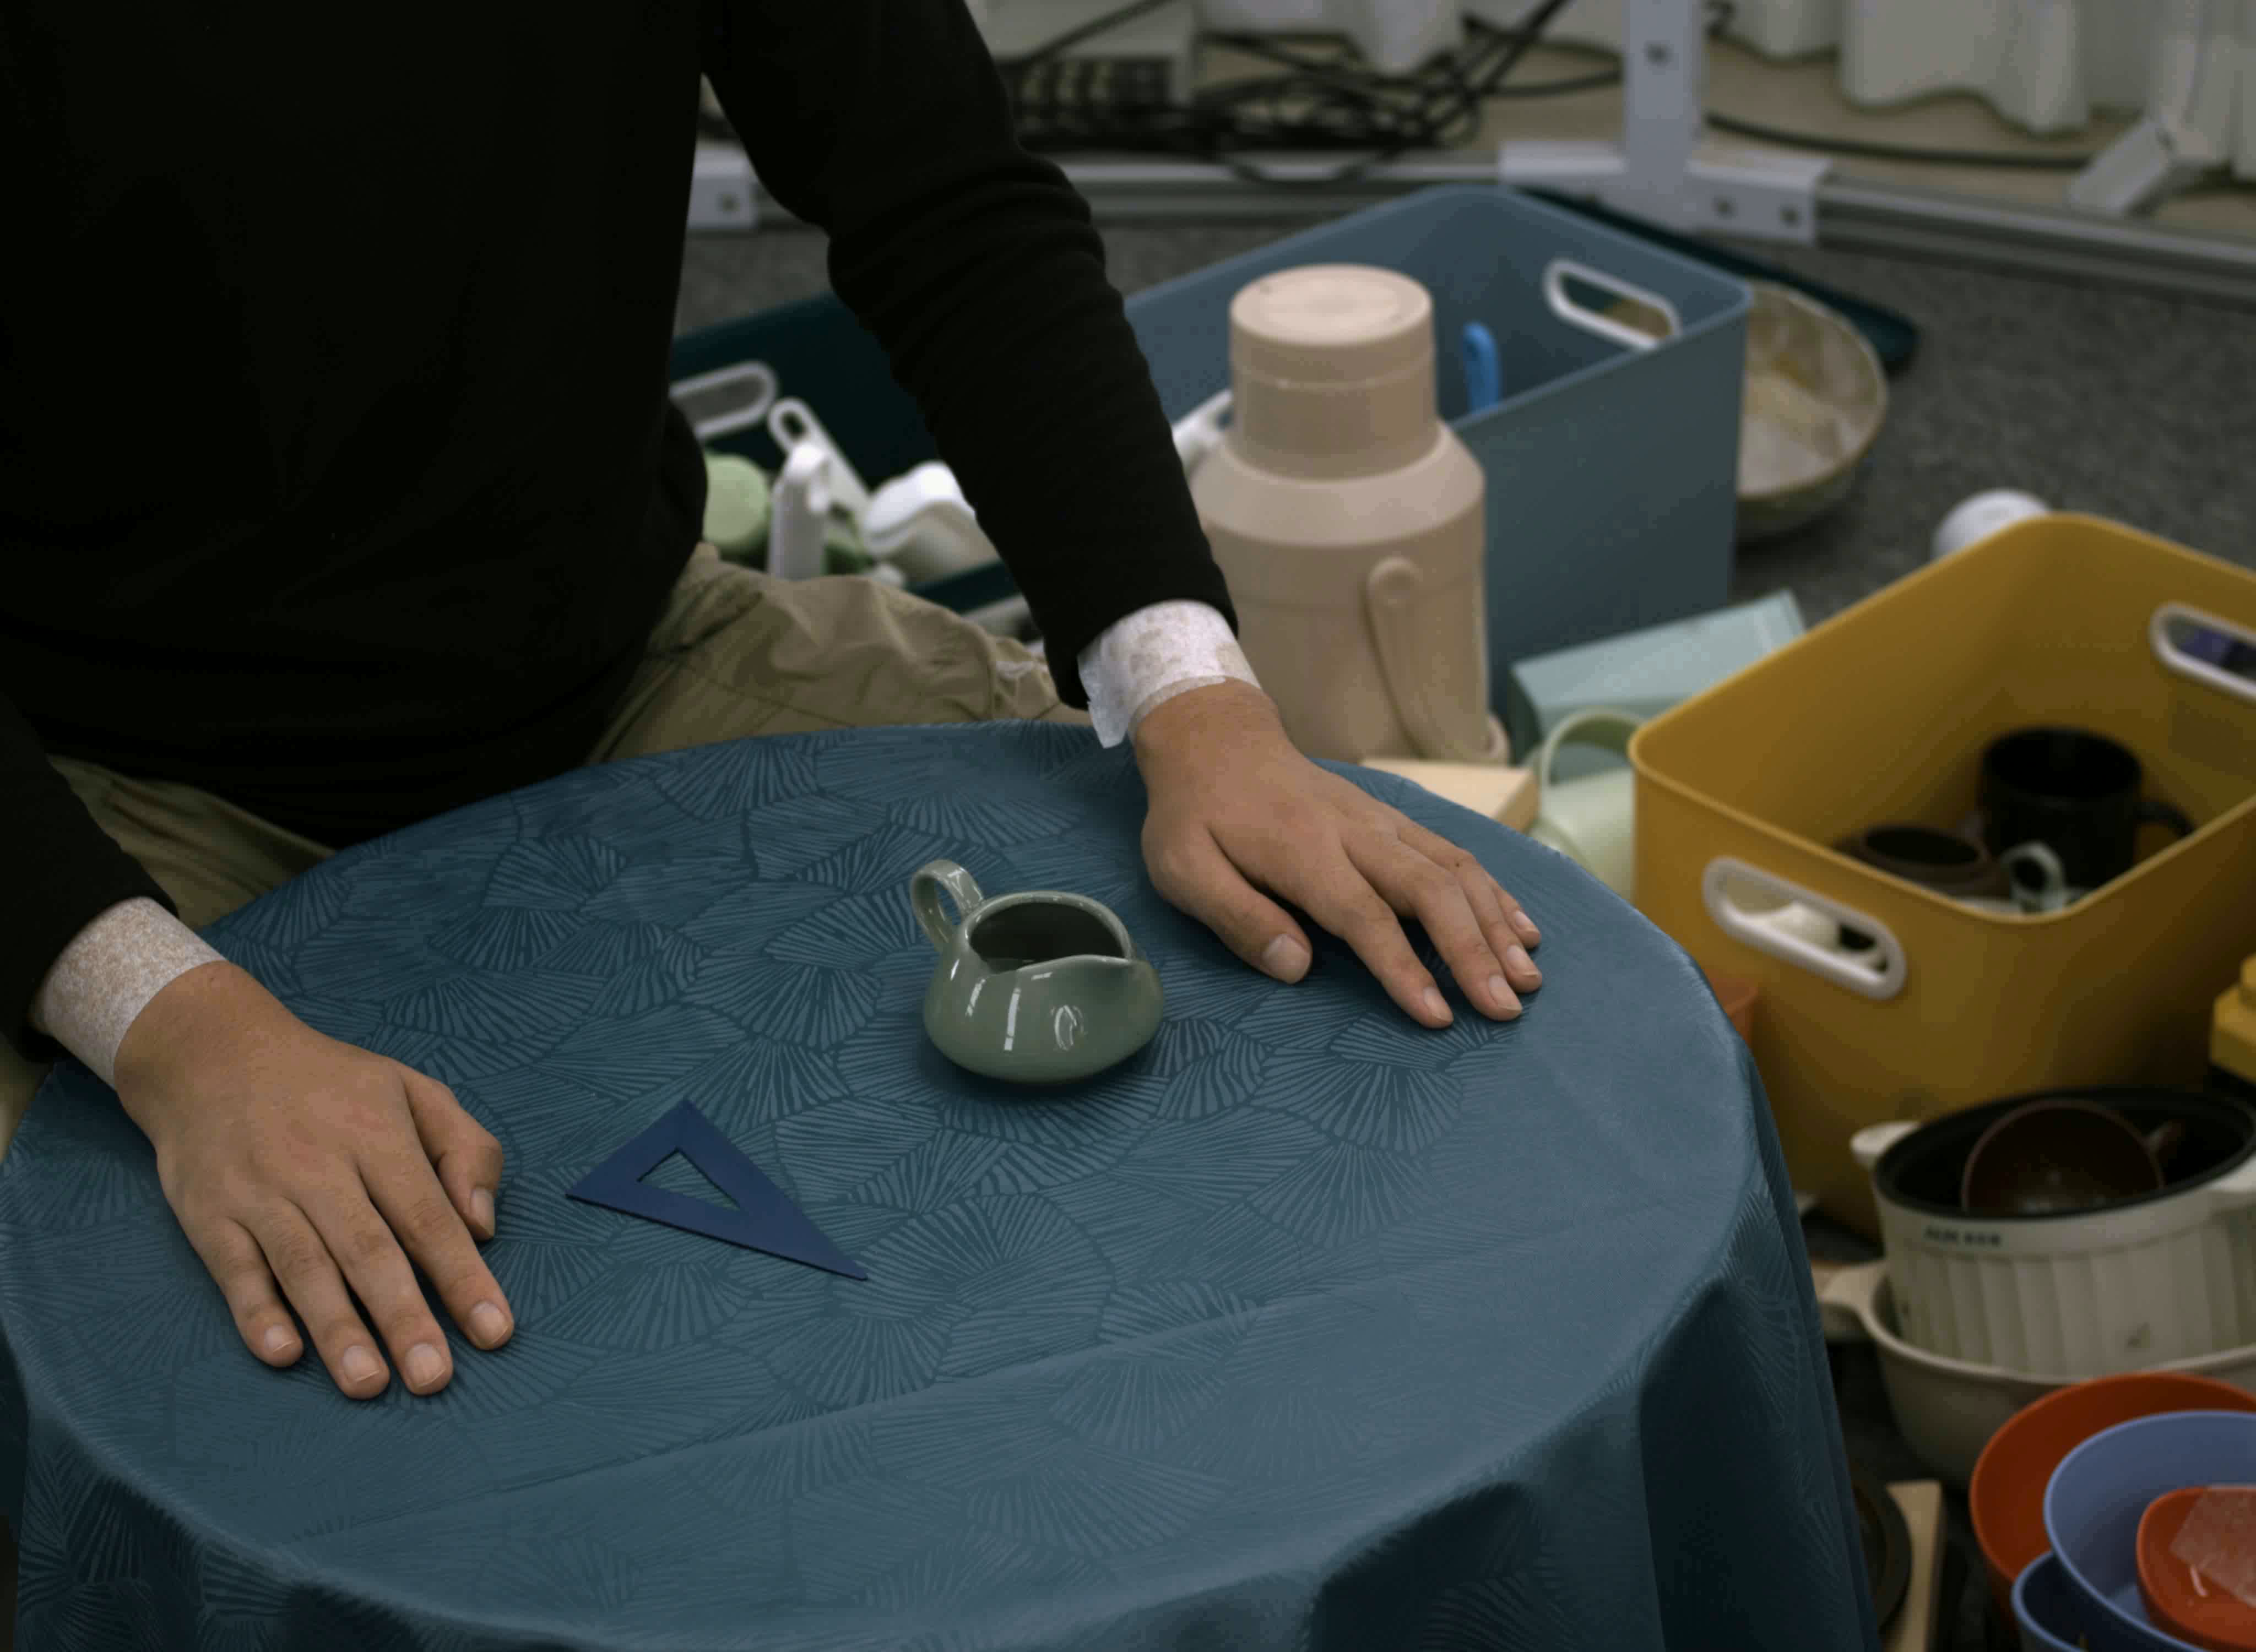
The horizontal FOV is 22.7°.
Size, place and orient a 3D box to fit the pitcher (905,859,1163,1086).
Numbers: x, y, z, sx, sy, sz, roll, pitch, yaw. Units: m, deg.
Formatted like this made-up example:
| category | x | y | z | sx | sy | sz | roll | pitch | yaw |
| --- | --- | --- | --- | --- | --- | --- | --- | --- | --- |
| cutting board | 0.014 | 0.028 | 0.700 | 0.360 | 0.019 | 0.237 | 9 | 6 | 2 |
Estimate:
| category | x | y | z | sx | sy | sz | roll | pitch | yaw |
| --- | --- | --- | --- | --- | --- | --- | --- | --- | --- |
| pitcher | -0.035 | 0.051 | 1.941 | 0.085 | 0.055 | 0.112 | -24 | 33 | -39 |

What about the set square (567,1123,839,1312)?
| category | x | y | z | sx | sy | sz | roll | pitch | yaw |
| --- | --- | --- | --- | --- | --- | --- | --- | --- | --- |
| set square | -0.144 | 0.133 | 1.849 | 0.061 | 0.006 | 0.133 | -14 | 29 | -22 |
